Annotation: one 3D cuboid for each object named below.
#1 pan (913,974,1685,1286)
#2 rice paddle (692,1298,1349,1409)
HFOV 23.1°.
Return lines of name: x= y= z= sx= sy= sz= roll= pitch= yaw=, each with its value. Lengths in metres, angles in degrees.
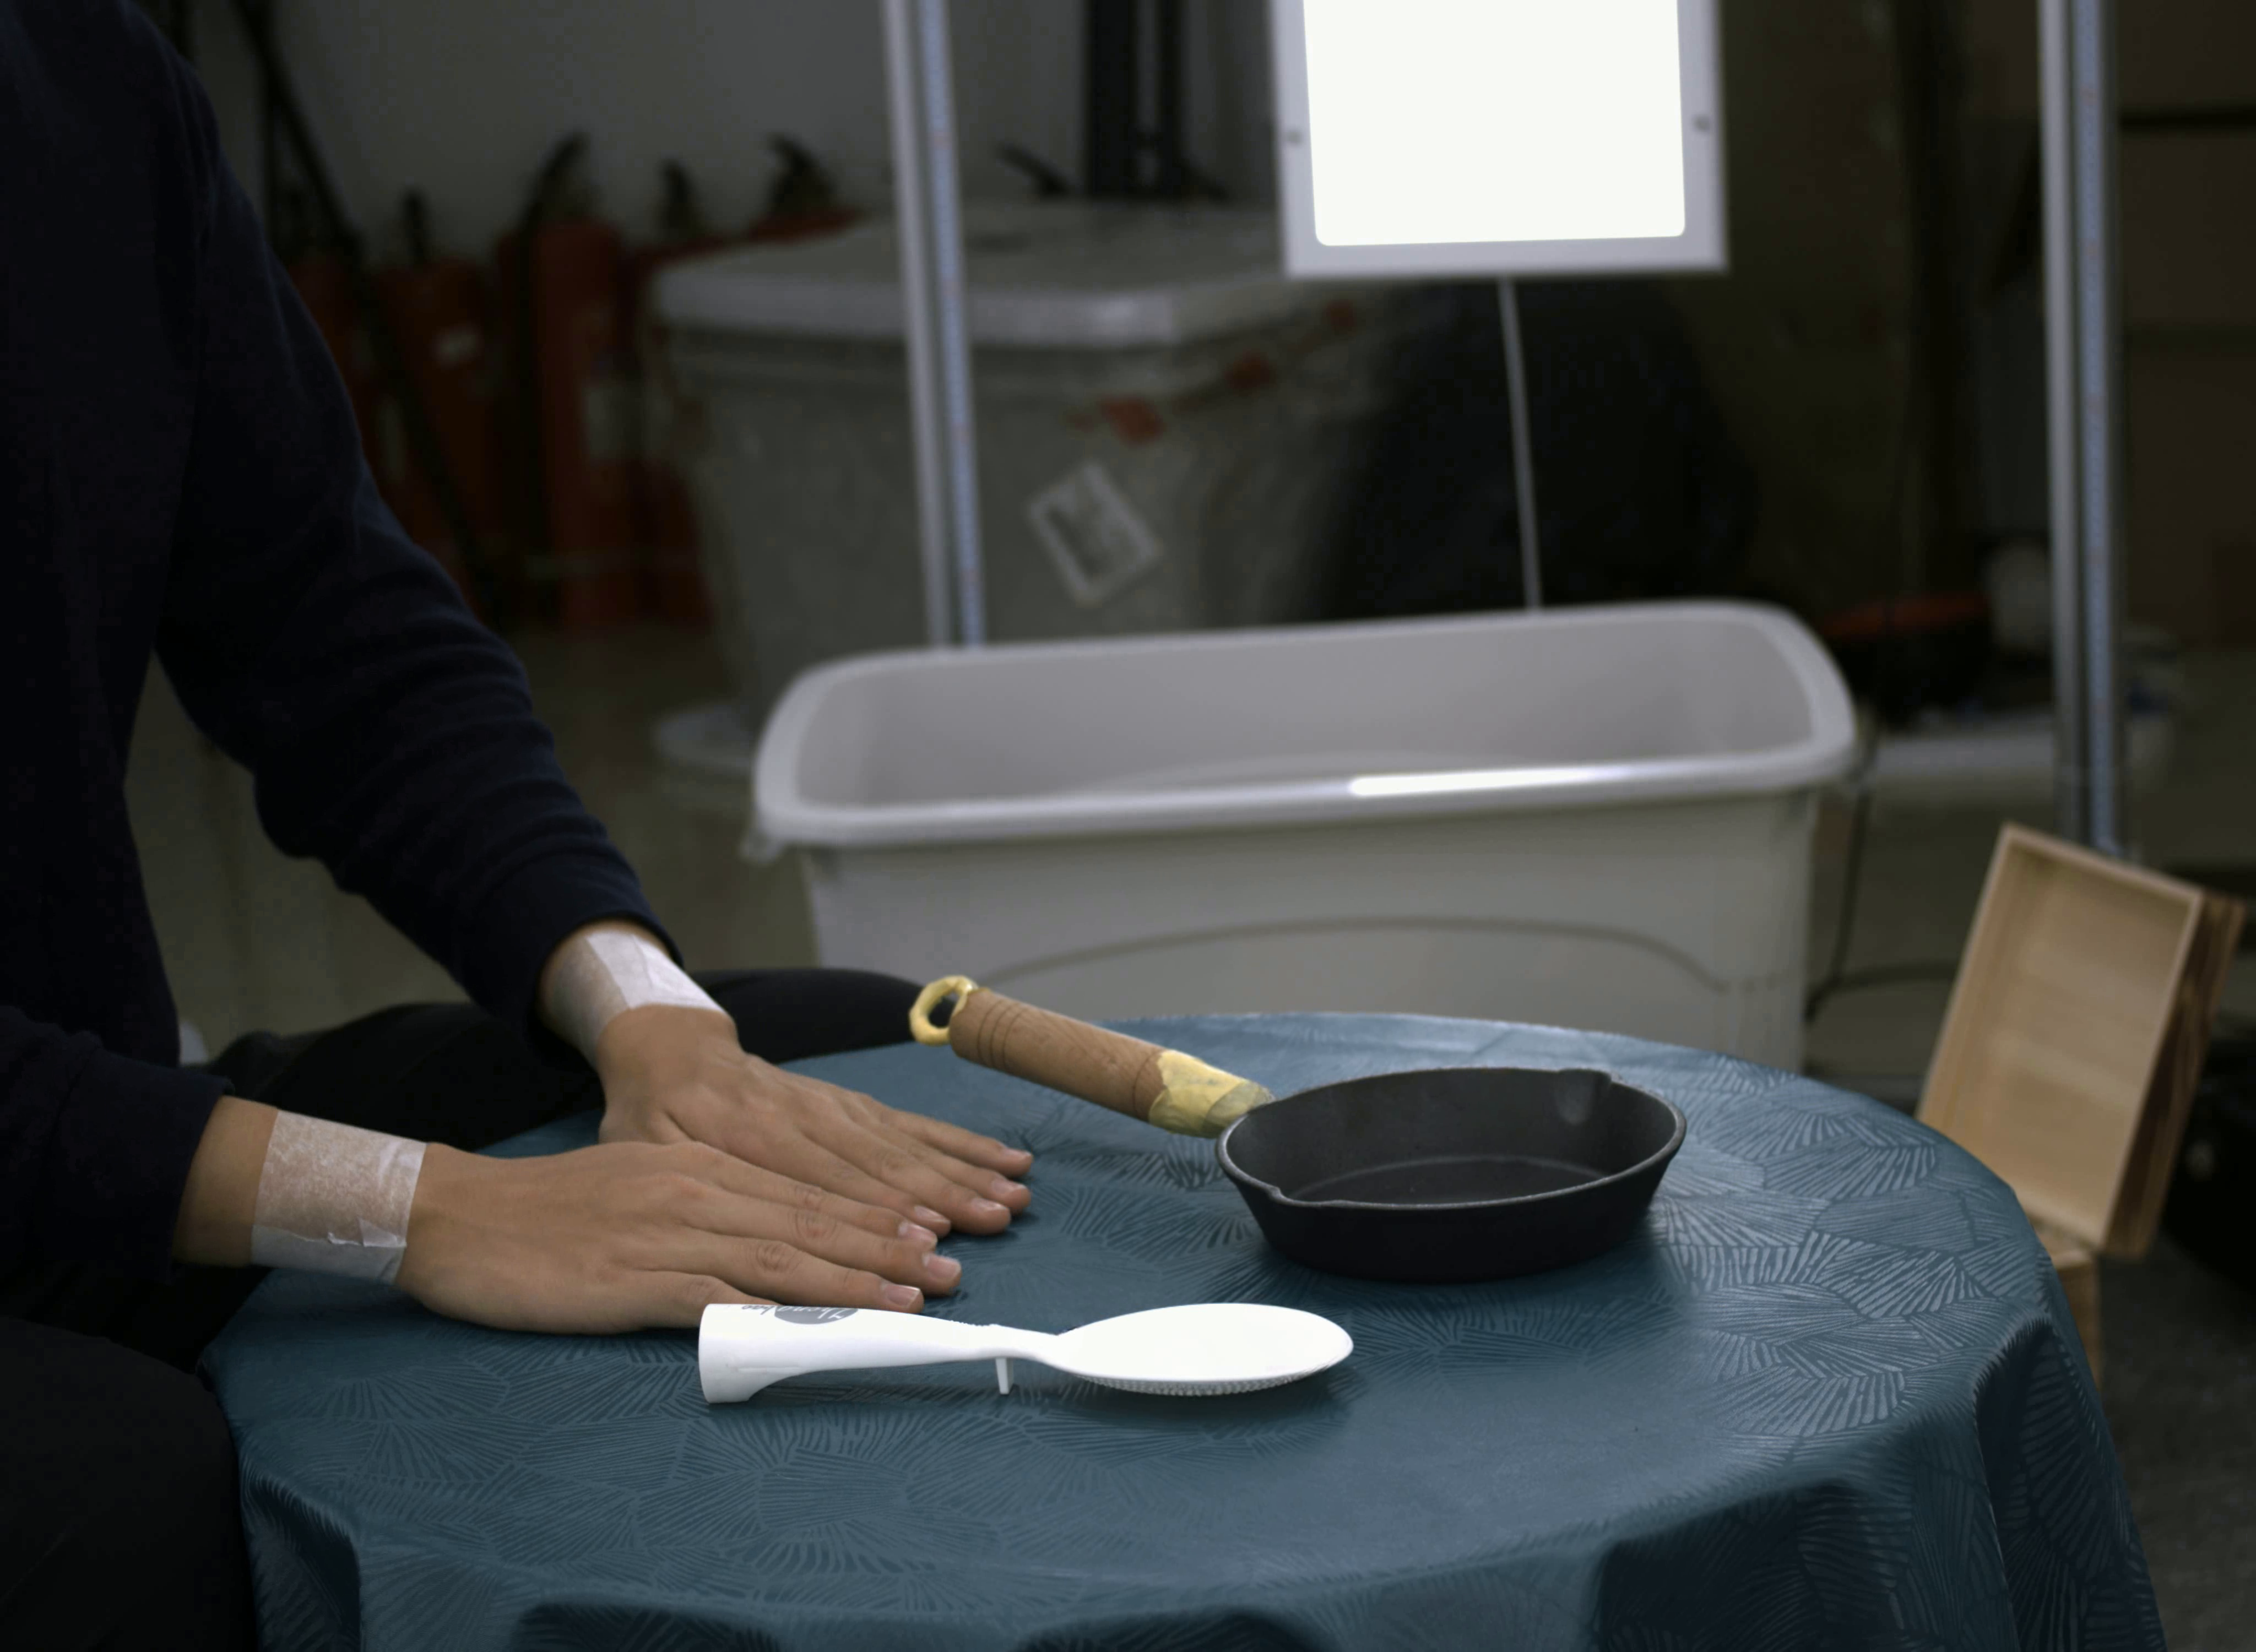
pan: x=0.046 y=0.099 z=1.887 sx=0.331 sy=0.050 sz=0.164 roll=11 pitch=21 yaw=44
rice paddle: x=-0.033 y=0.161 z=1.709 sx=0.206 sy=0.029 sz=0.068 roll=-3 pitch=16 yaw=10
